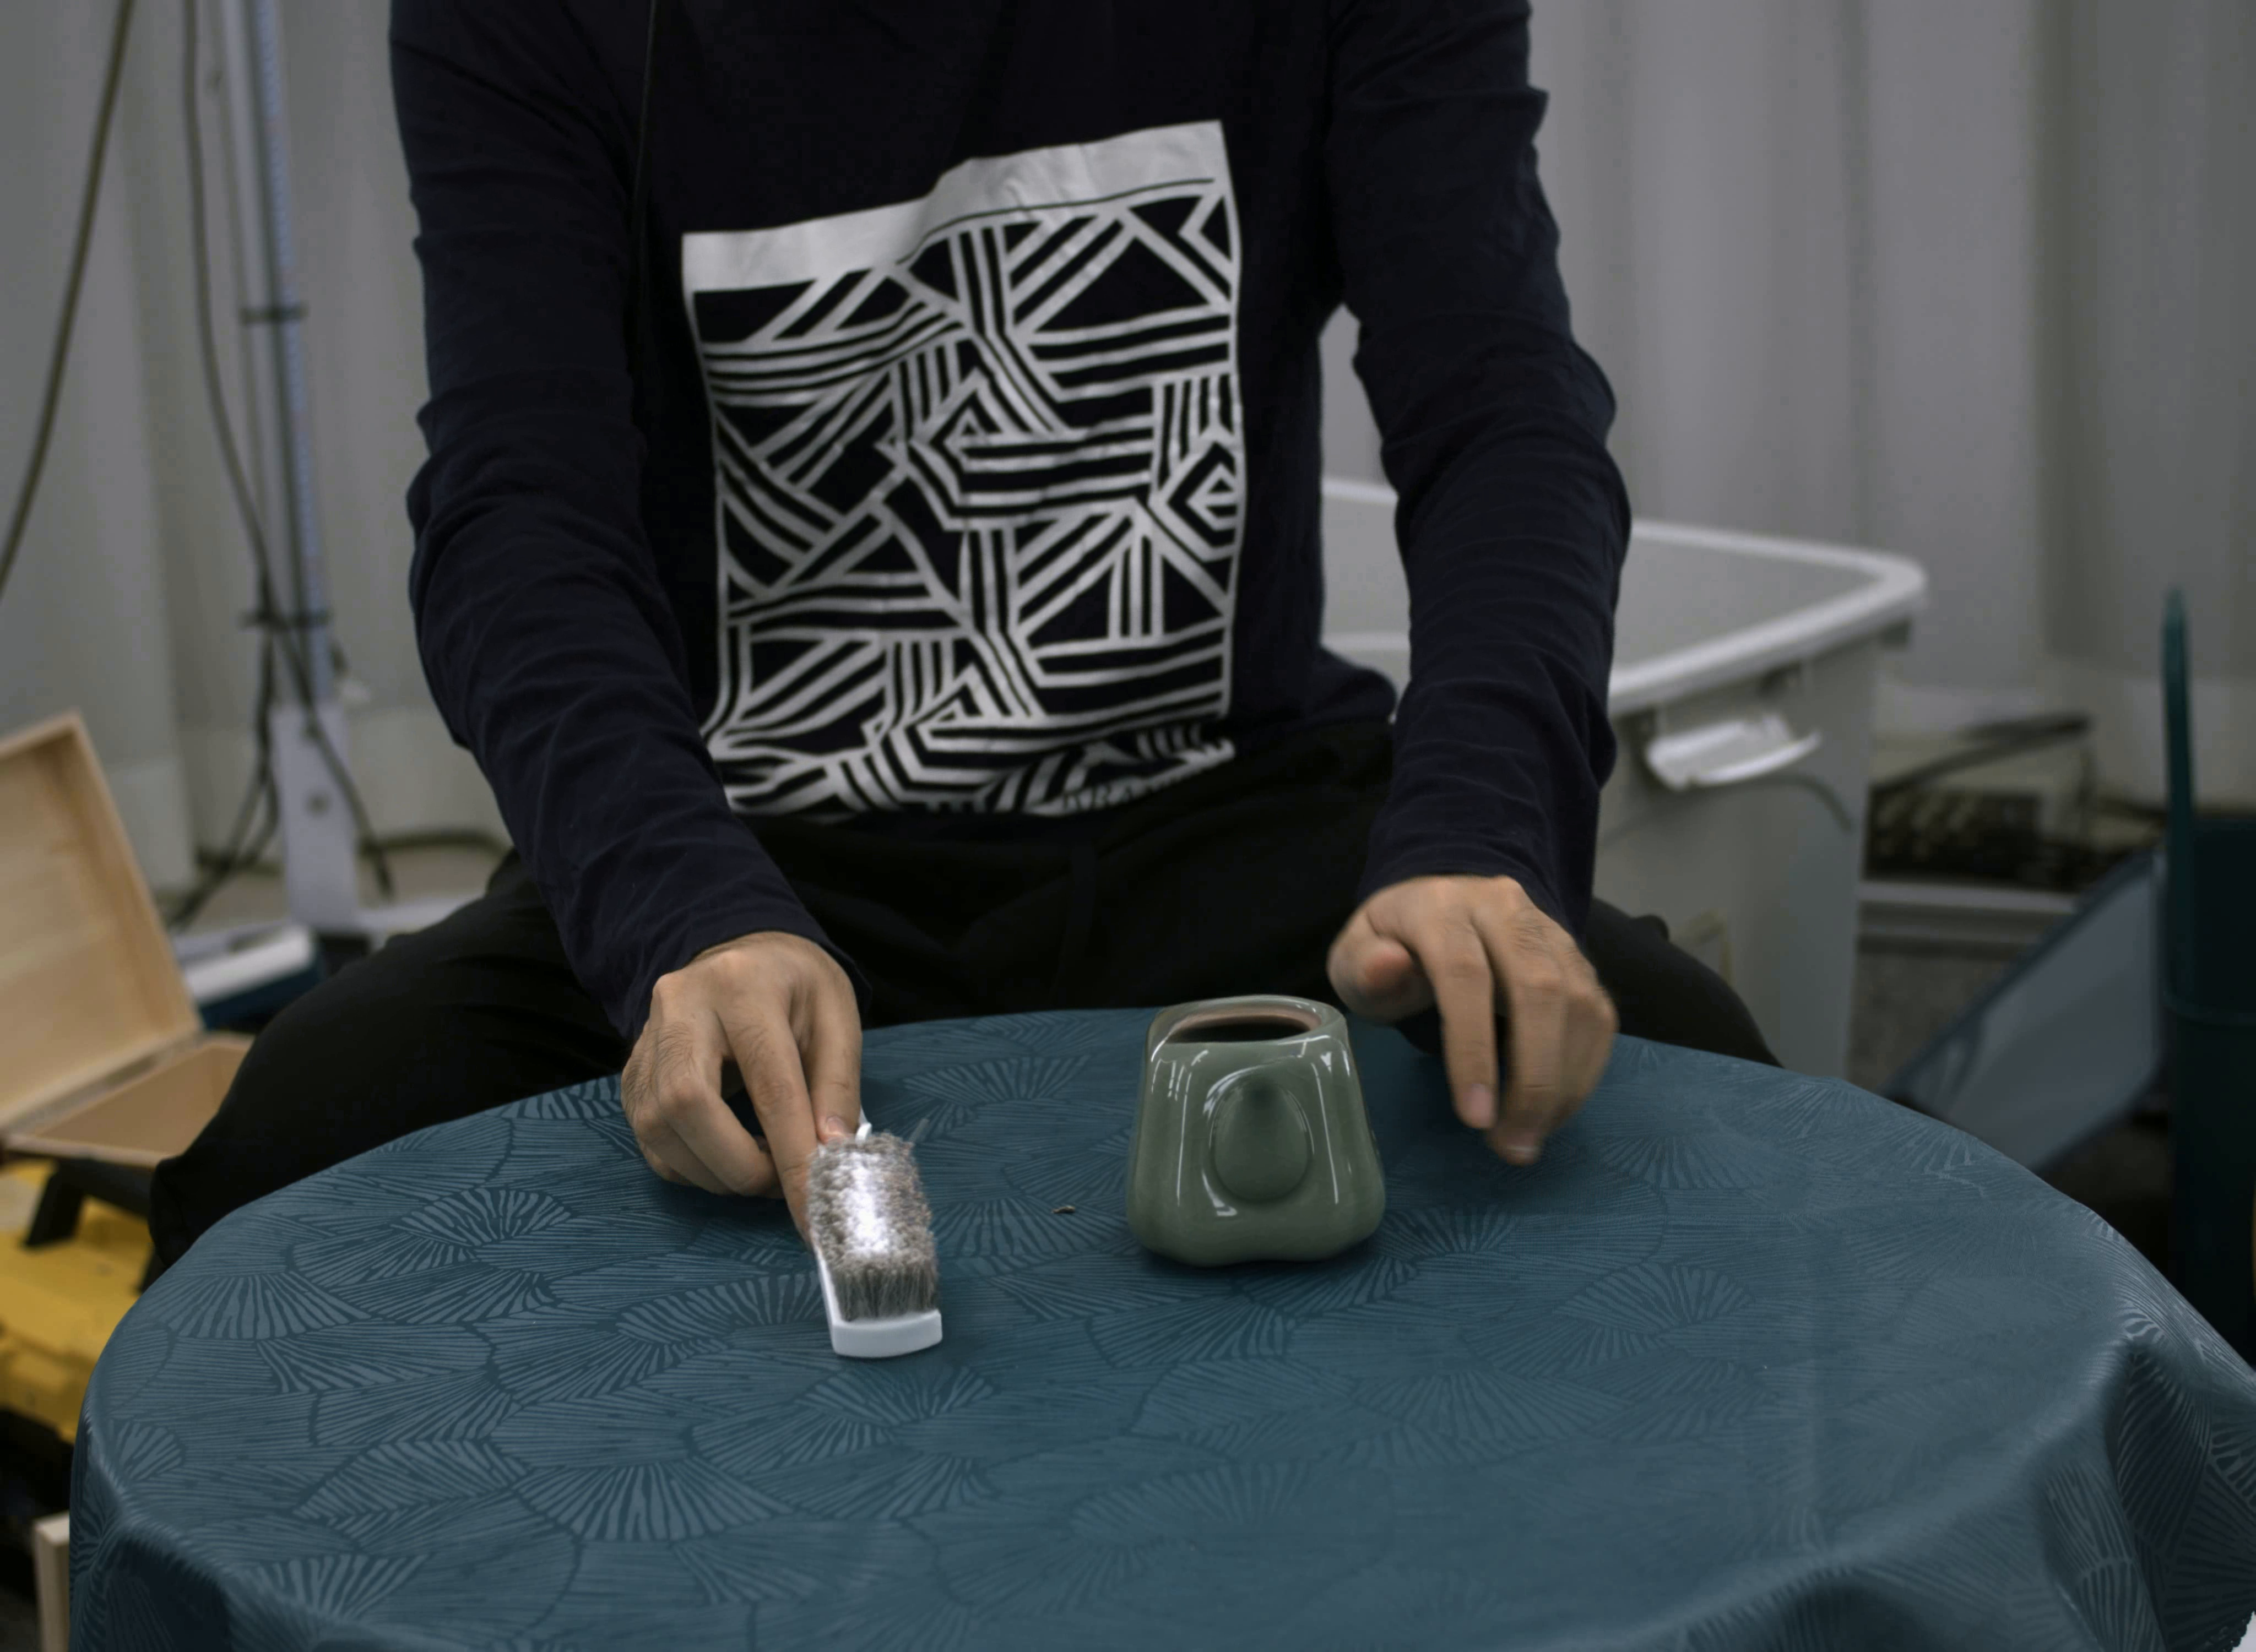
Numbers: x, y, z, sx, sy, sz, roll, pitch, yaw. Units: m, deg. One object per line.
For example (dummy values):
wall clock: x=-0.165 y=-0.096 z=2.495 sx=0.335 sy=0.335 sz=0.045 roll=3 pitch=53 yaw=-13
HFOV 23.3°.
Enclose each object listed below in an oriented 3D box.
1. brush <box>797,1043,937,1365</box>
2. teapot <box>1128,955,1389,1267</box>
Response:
brush: x=-0.085 y=0.097 z=1.678 sx=0.034 sy=0.050 sz=0.246 roll=-11 pitch=20 yaw=-2
teapot: x=0.038 y=0.089 z=1.660 sx=0.079 sy=0.075 sz=0.133 roll=-3 pitch=14 yaw=-2
